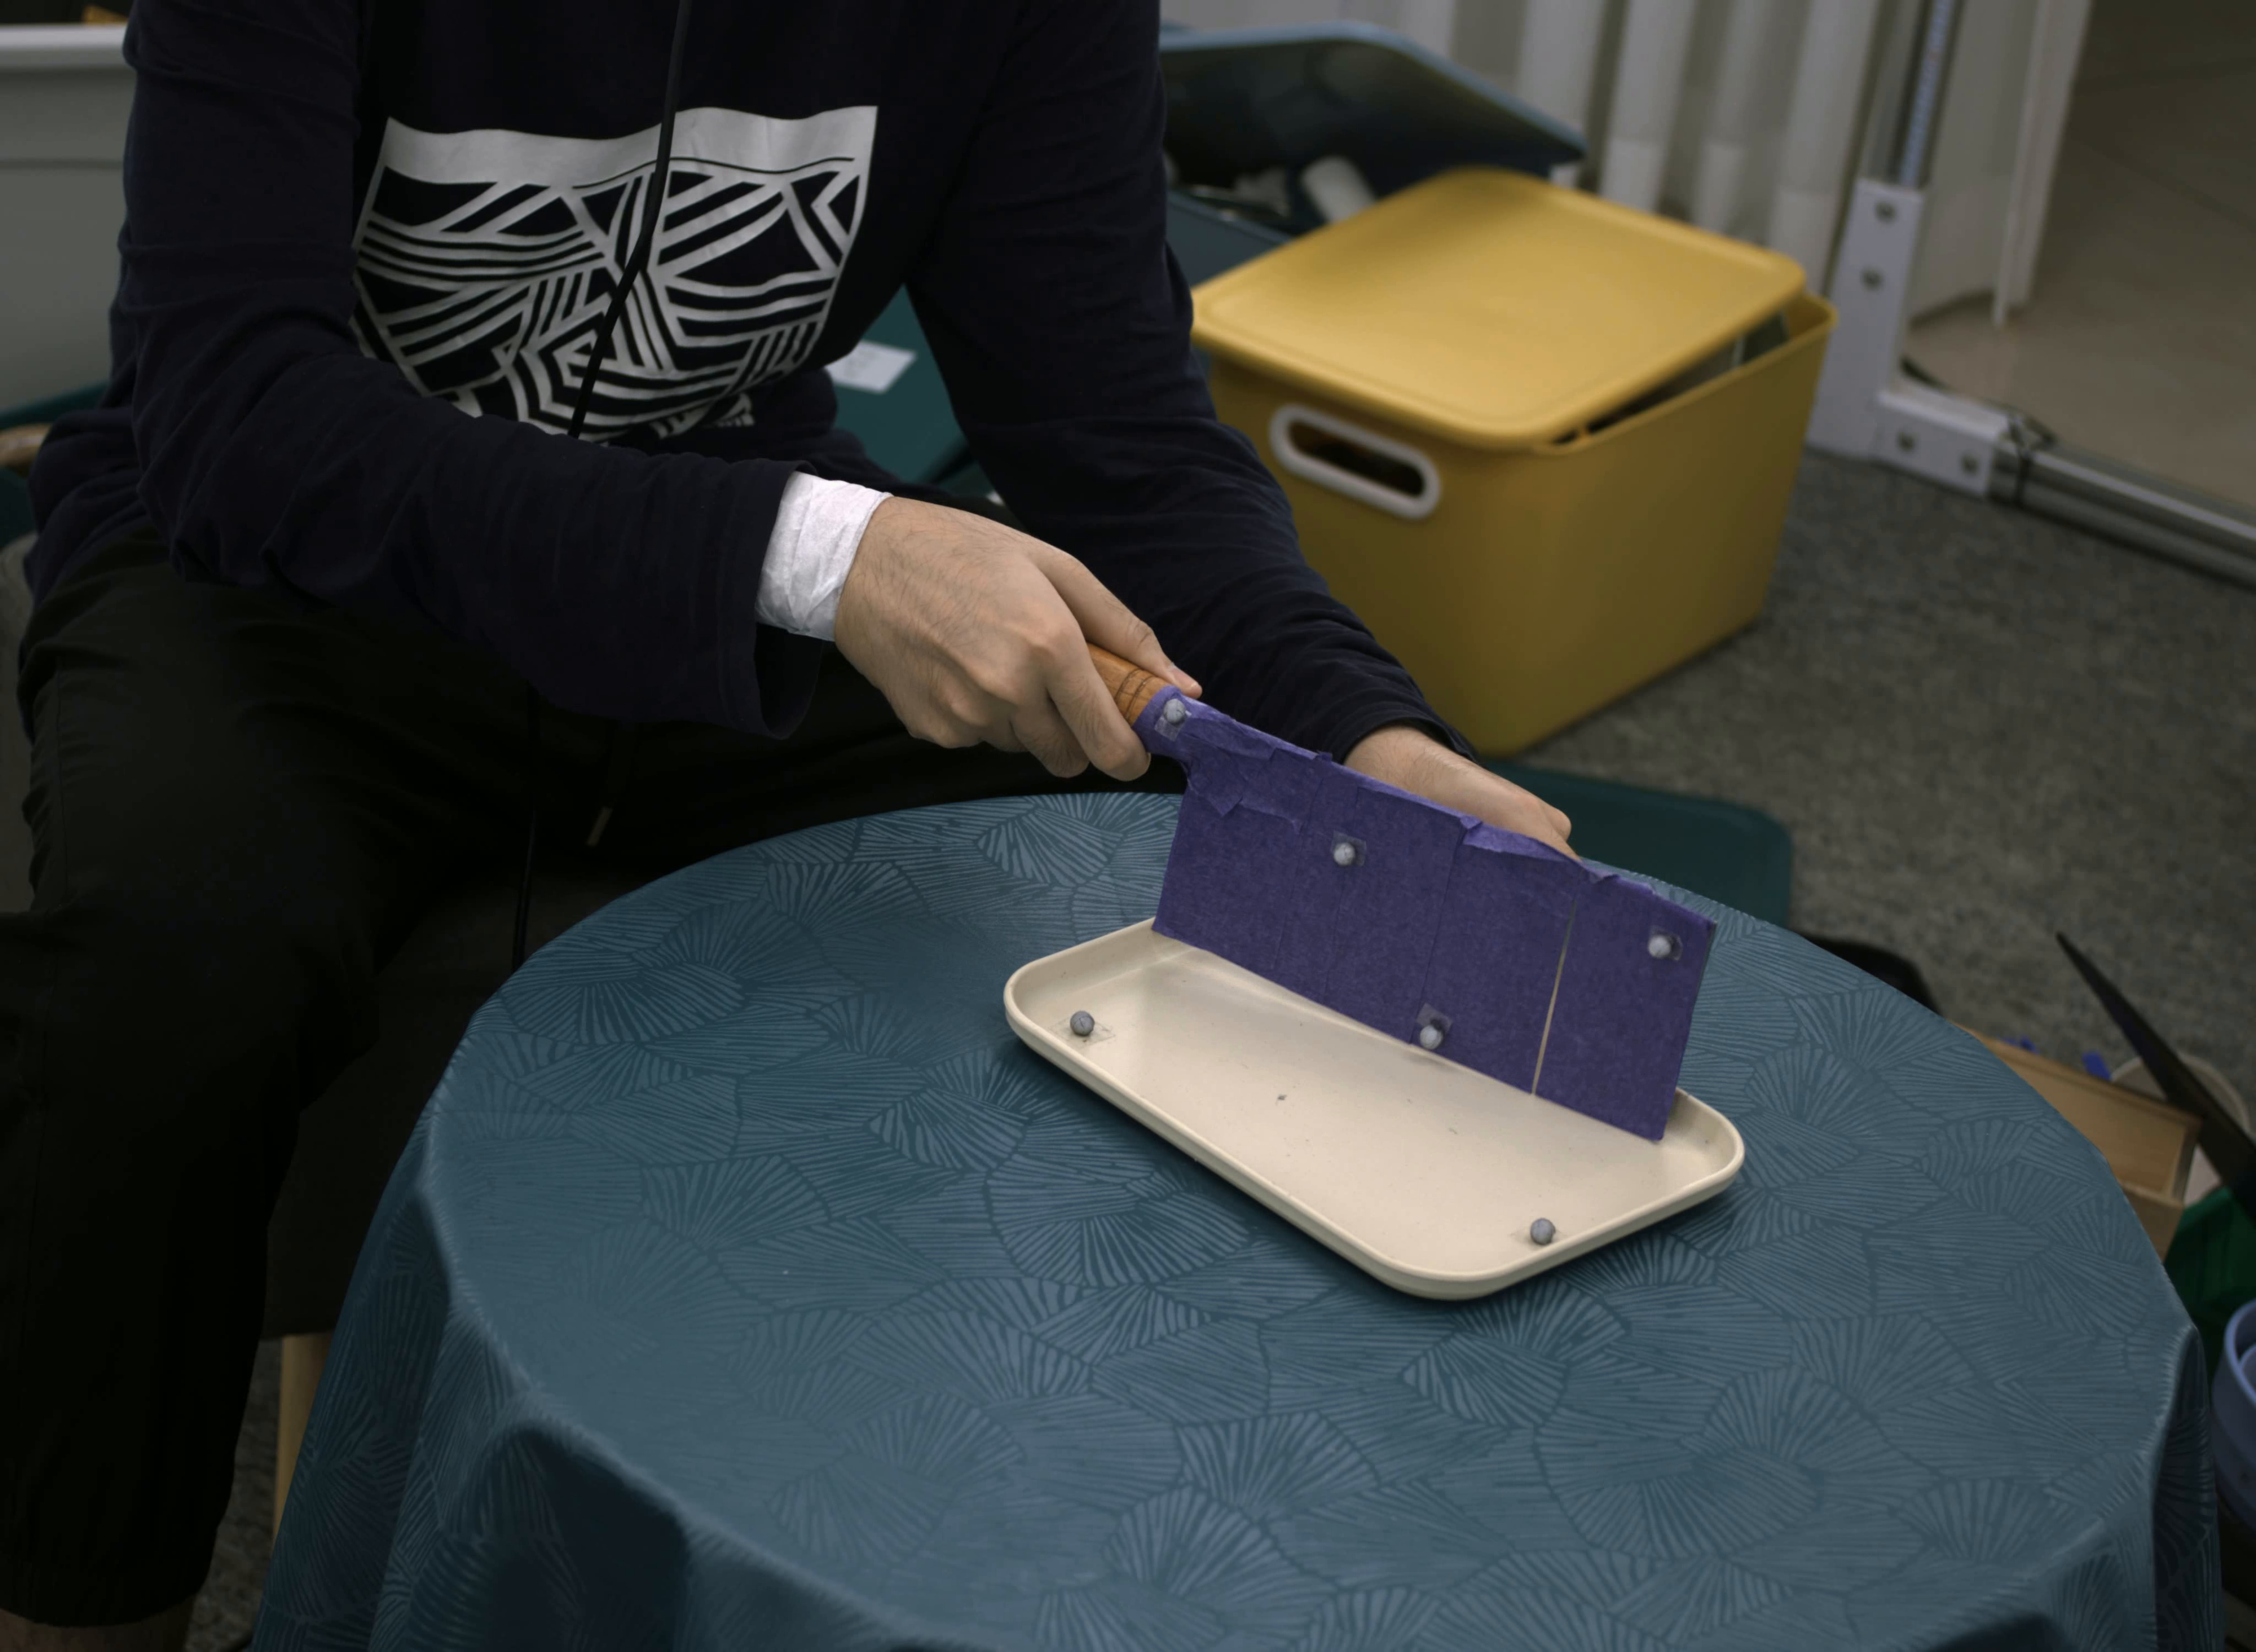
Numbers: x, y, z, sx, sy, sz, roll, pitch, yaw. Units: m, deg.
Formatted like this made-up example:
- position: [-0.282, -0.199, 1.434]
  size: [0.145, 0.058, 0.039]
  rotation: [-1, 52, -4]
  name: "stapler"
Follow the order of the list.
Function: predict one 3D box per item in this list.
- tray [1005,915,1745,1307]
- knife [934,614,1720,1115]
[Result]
- position: [0.084, 0.091, 1.865]
  size: [0.170, 0.017, 0.241]
  rotation: [-20, 38, -37]
  name: "tray"
- position: [0.061, 0.016, 1.900]
  size: [0.317, 0.103, 0.032]
  rotation: [23, 23, 25]
  name: "knife"
